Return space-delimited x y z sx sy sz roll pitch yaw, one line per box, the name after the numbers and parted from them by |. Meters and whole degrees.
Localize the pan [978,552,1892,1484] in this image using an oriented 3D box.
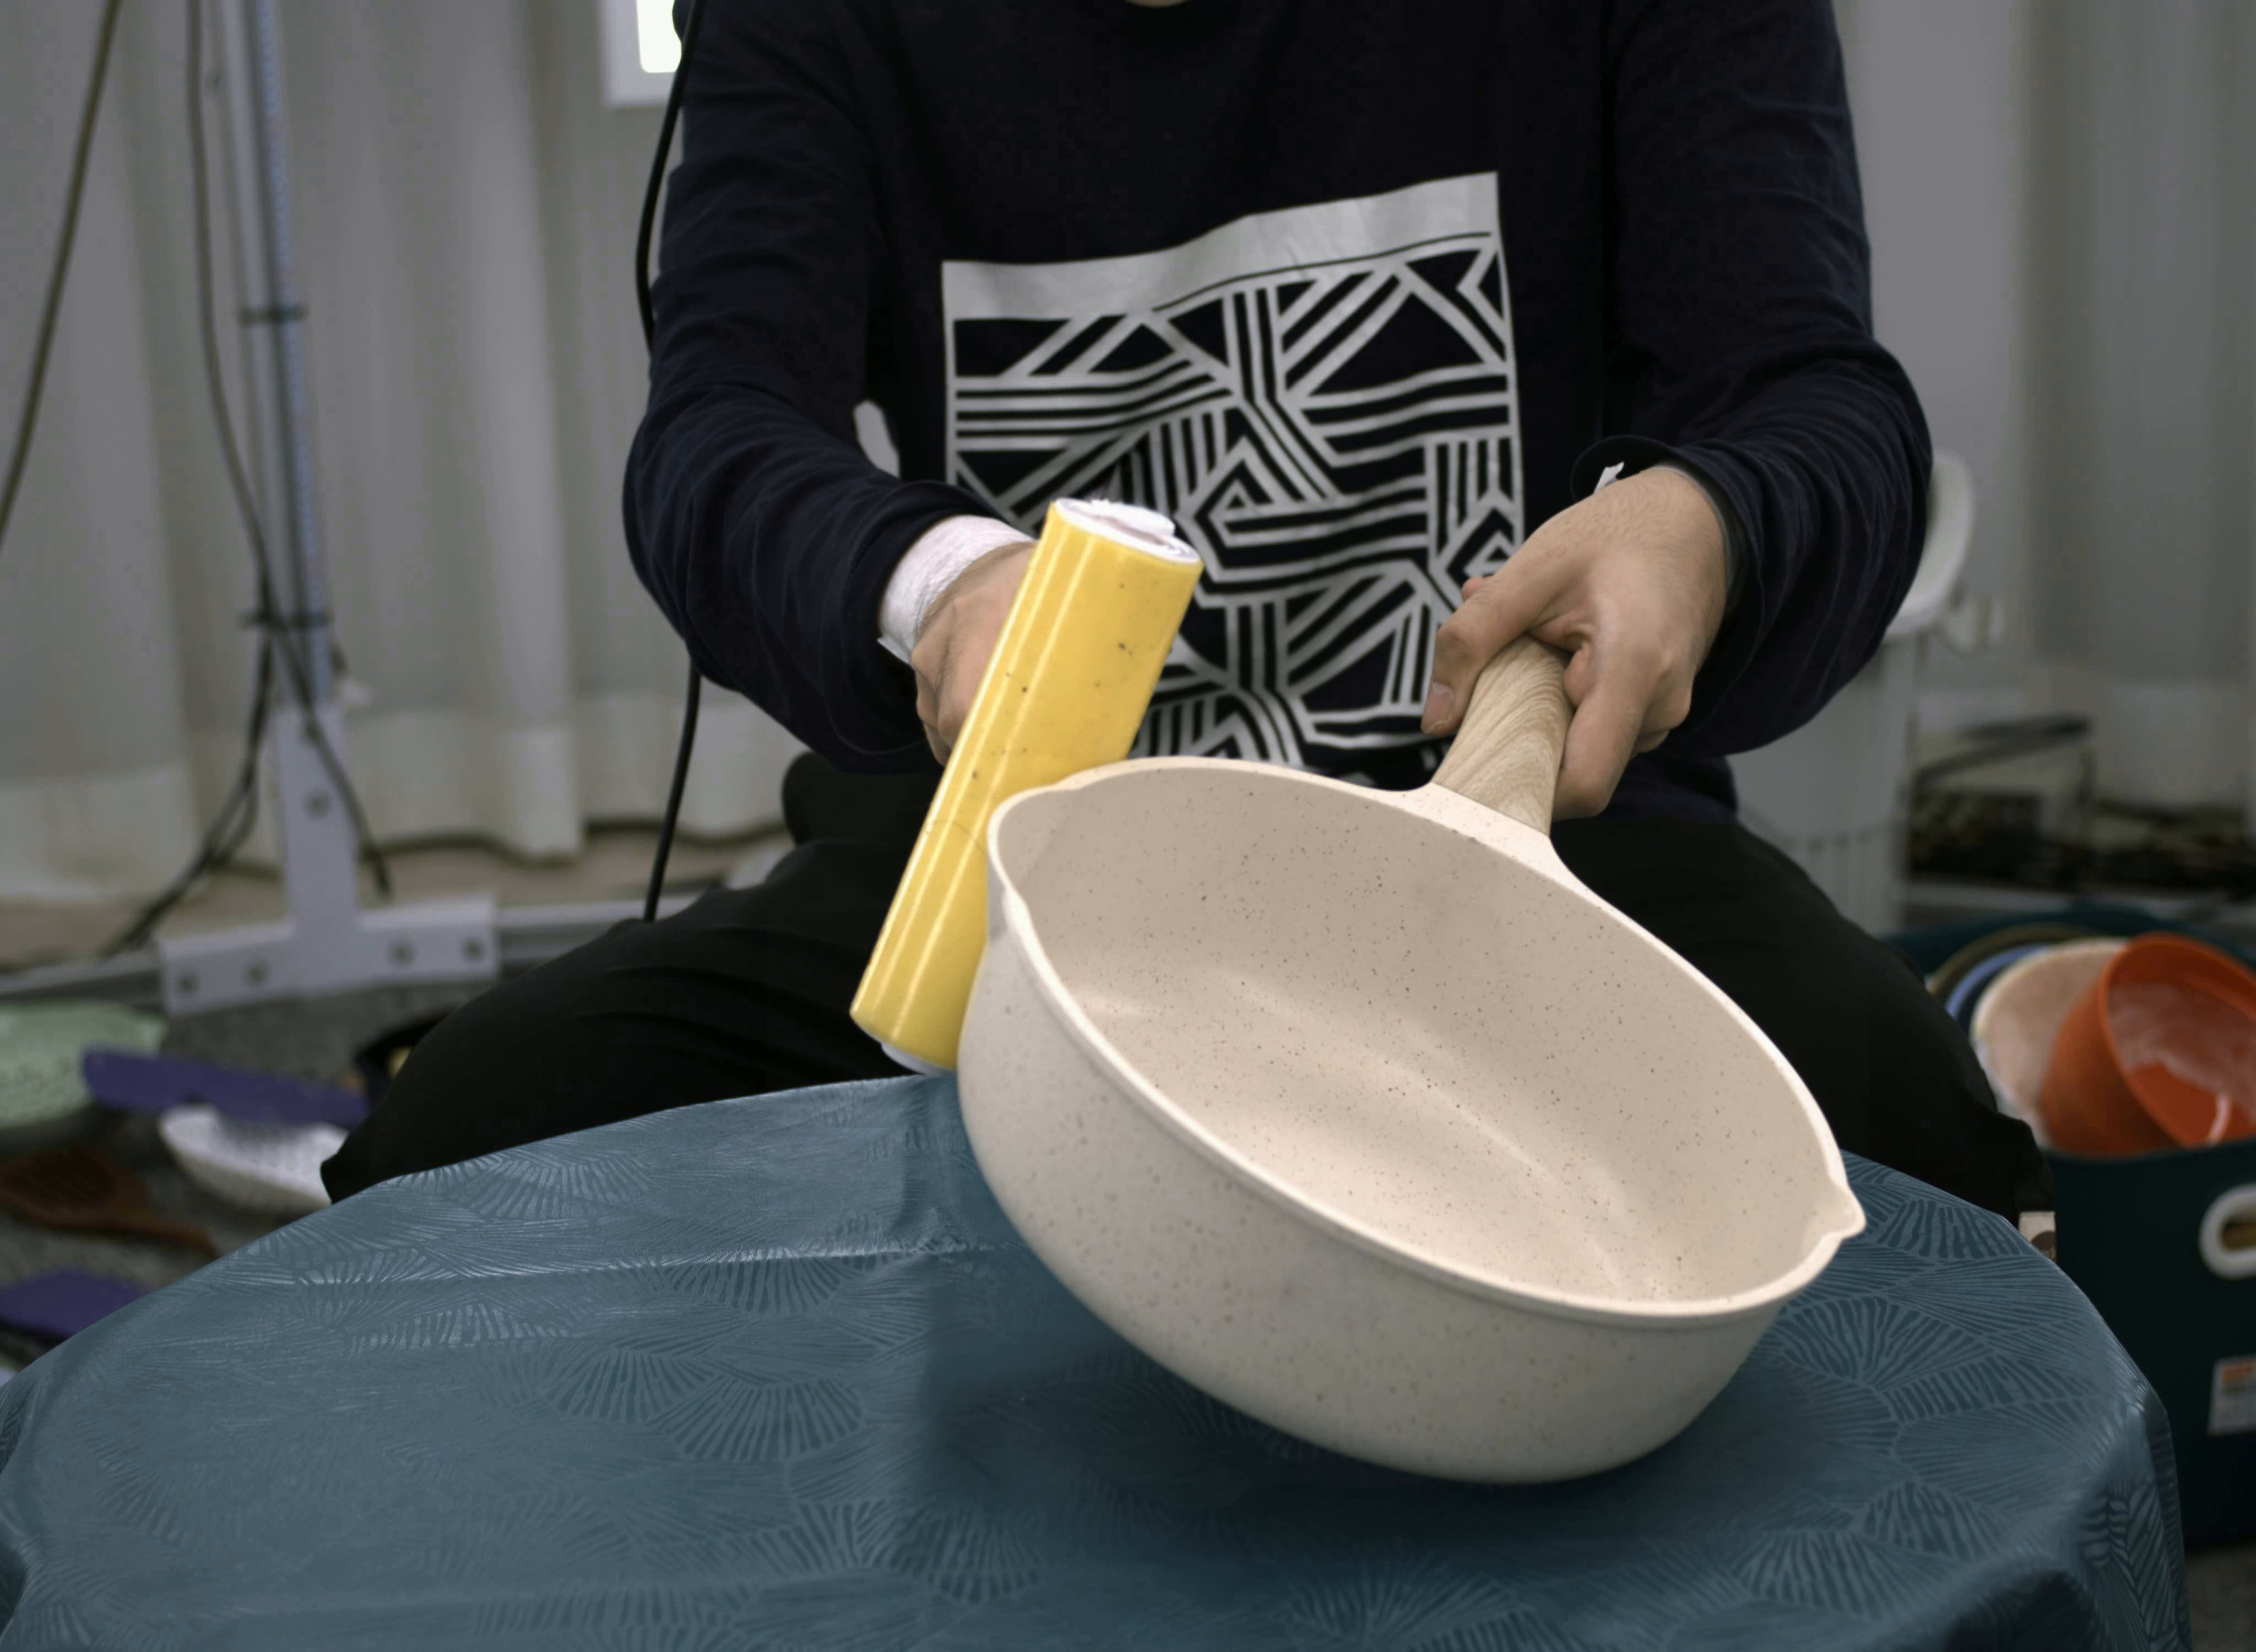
0.090 0.043 1.582 0.263 0.101 0.439 22 25 0 | pan

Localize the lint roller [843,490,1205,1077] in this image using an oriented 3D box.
-0.036 -0.027 1.628 0.051 0.174 0.193 21 10 -11 | lint roller
